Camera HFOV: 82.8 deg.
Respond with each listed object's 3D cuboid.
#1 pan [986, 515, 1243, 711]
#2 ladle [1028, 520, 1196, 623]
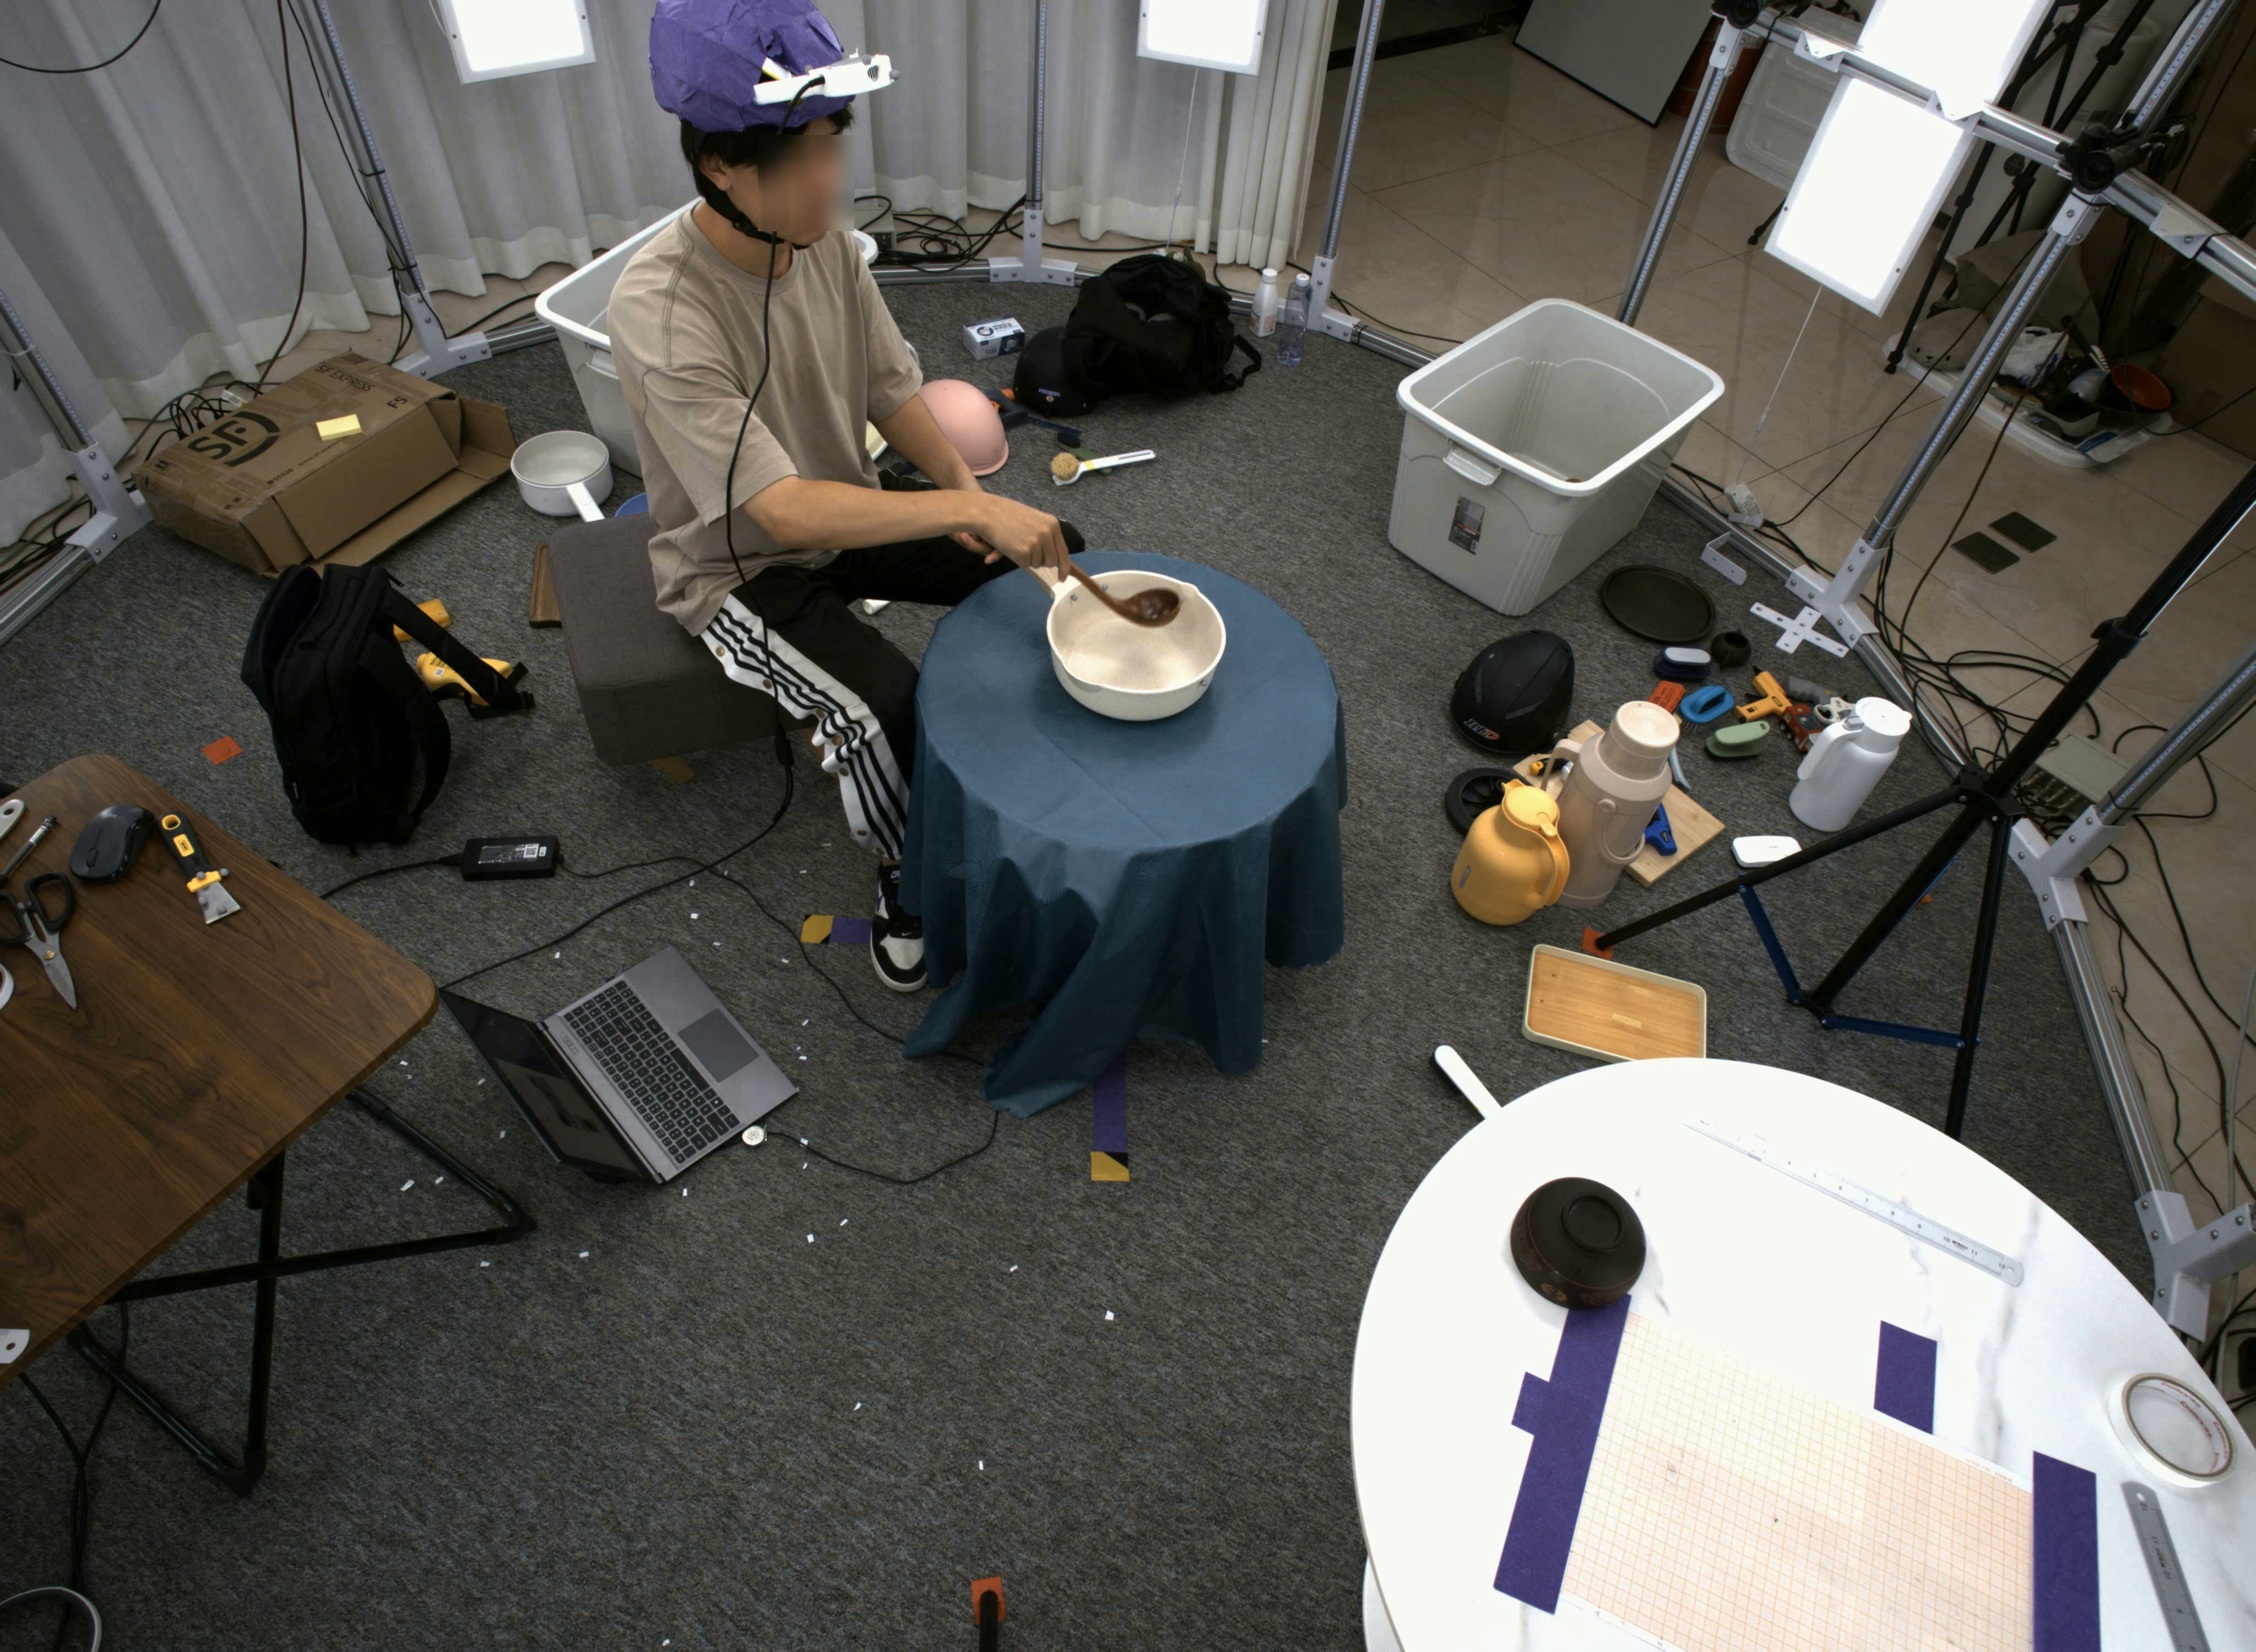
[{"bbox_3d":[-0.037,-0.316,1.862,0.440,0.099,0.266,33,55,23],"label":"pan"},{"bbox_3d":[-0.014,-0.360,1.759,0.076,0.269,0.083,-52,37,7],"label":"ladle"}]
